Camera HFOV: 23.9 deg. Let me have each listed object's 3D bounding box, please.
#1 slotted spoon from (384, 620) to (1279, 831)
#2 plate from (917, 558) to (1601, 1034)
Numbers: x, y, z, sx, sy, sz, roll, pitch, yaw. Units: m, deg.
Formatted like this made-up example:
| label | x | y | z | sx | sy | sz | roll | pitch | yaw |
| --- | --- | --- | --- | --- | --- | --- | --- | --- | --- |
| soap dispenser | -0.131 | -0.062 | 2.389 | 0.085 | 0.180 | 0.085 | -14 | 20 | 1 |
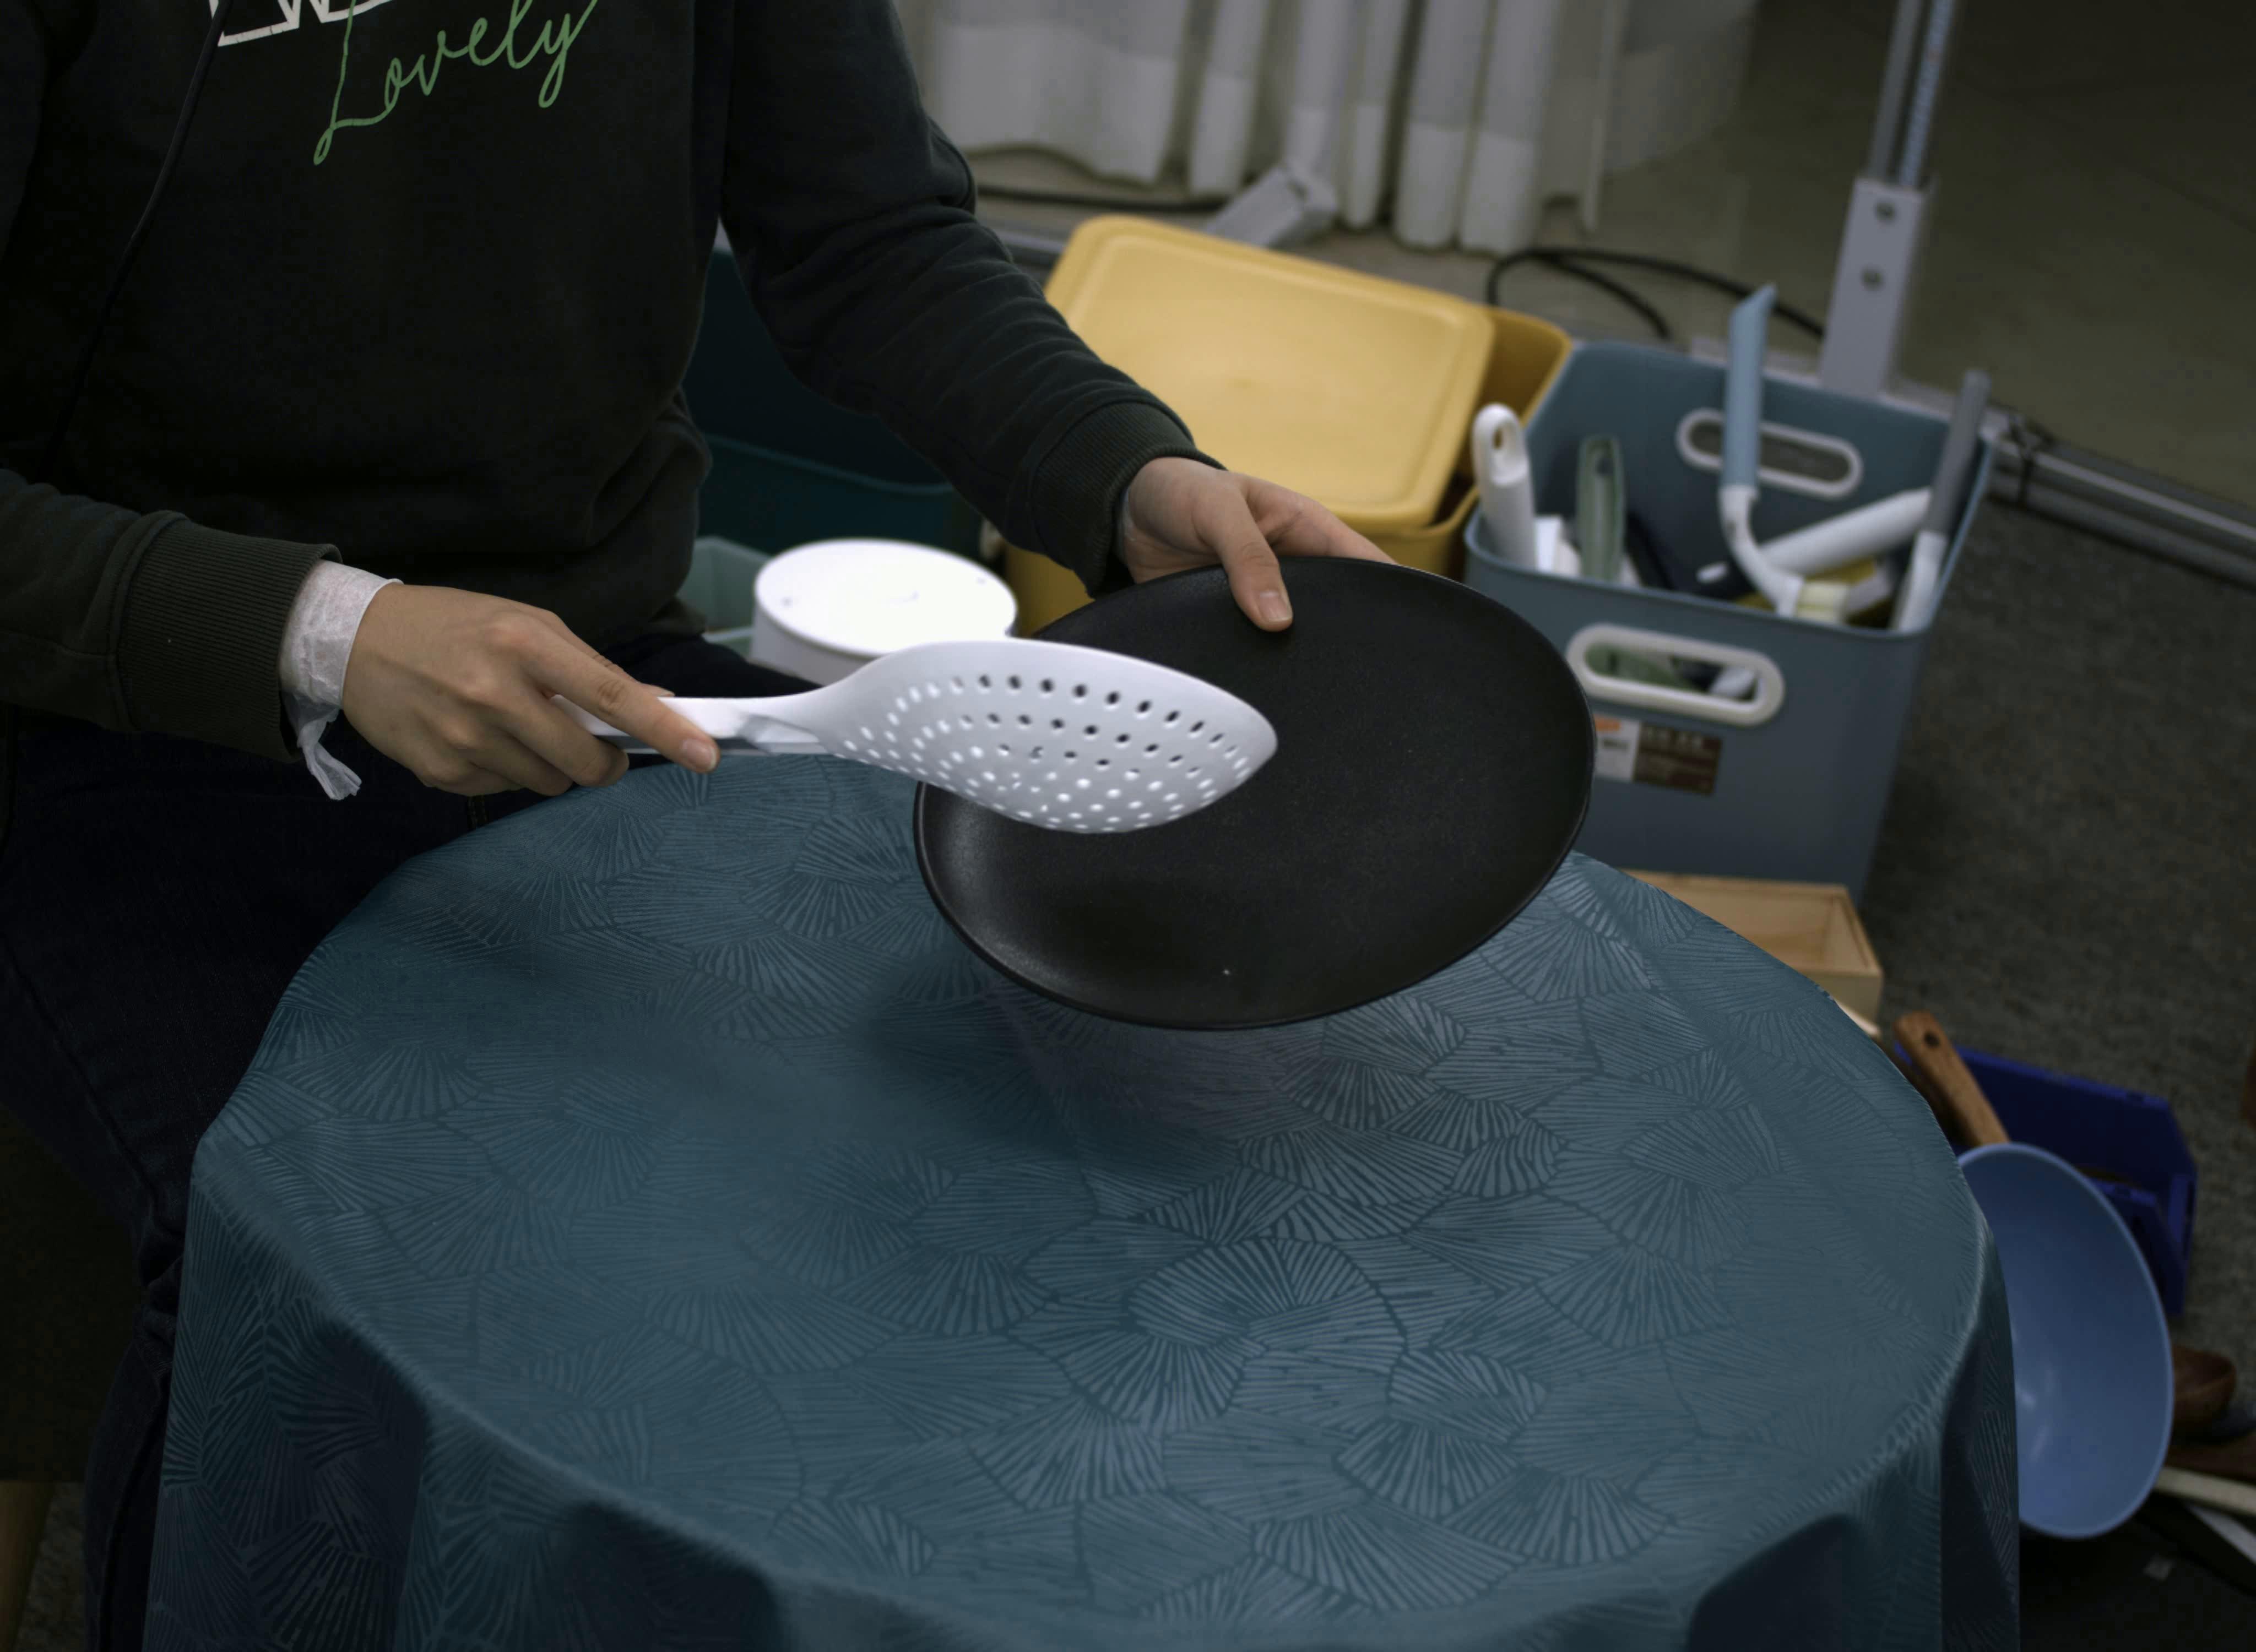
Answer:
| label | x | y | z | sx | sy | sz | roll | pitch | yaw |
| --- | --- | --- | --- | --- | --- | --- | --- | --- | --- |
| slotted spoon | -0.112 | -0.035 | 1.838 | 0.351 | 0.046 | 0.135 | 6 | -19 | 31 |
| plate | 0.046 | -0.008 | 1.872 | 0.244 | 0.023 | 0.246 | -7 | 42 | 6 |
